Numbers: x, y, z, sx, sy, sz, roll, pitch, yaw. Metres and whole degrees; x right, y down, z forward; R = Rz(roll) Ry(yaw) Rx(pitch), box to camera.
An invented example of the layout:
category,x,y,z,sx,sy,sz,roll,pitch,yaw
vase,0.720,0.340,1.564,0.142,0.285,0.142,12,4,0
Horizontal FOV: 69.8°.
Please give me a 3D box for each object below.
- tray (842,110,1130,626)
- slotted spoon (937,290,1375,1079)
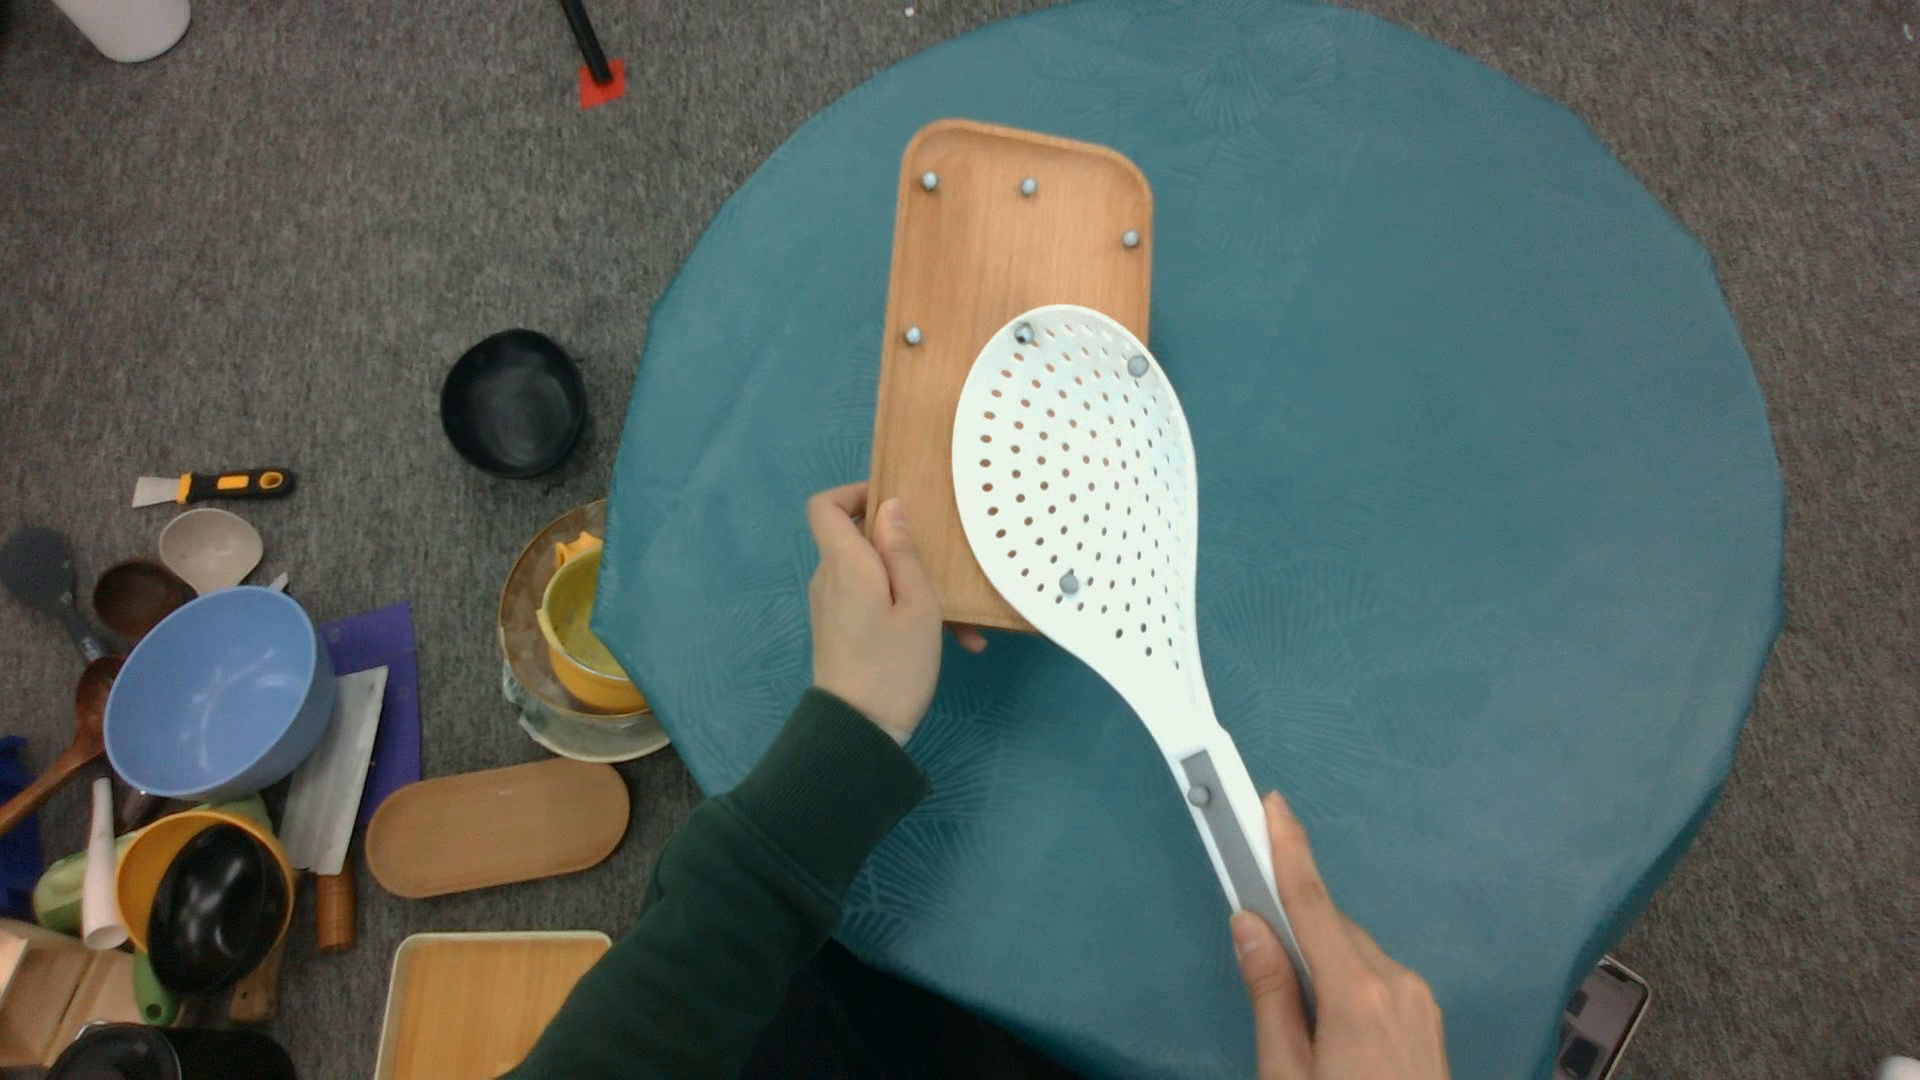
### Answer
category,x,y,z,sx,sy,sz,roll,pitch,yaw
tray,0.016,-0.084,0.648,0.130,0.023,0.251,7,73,-9
slotted spoon,0.082,0.061,0.545,0.046,0.135,0.350,-5,68,-39
